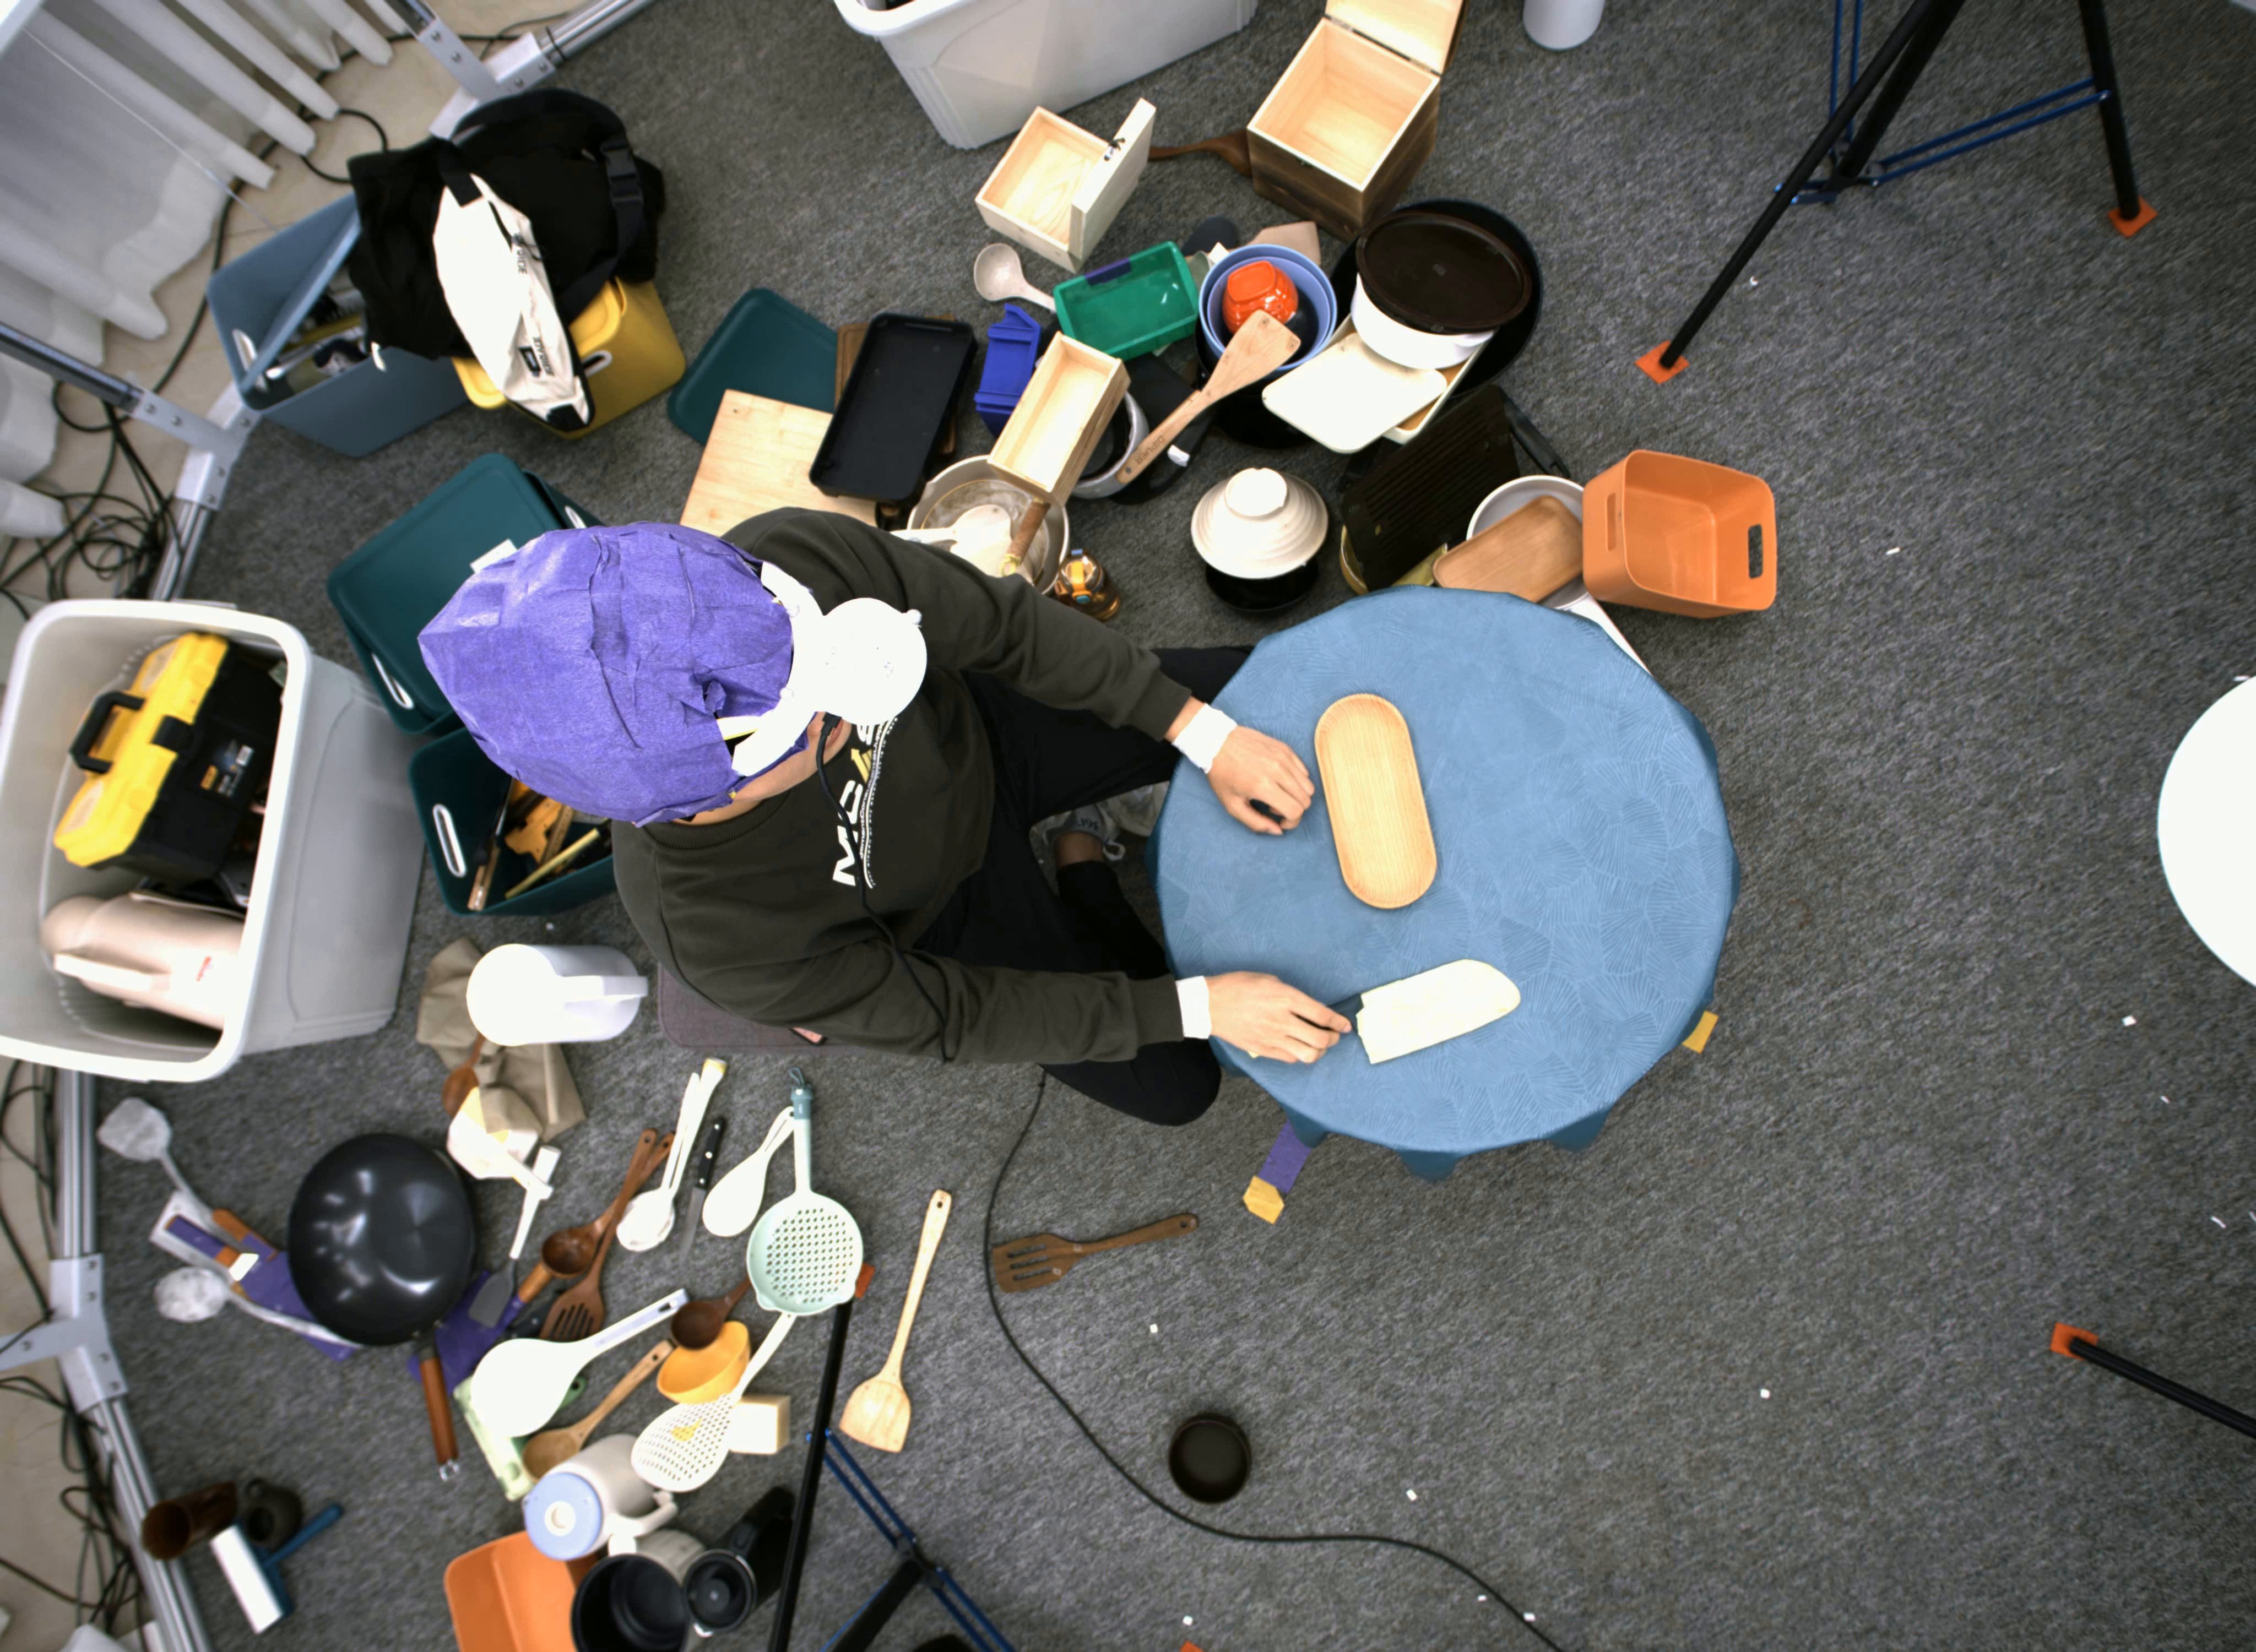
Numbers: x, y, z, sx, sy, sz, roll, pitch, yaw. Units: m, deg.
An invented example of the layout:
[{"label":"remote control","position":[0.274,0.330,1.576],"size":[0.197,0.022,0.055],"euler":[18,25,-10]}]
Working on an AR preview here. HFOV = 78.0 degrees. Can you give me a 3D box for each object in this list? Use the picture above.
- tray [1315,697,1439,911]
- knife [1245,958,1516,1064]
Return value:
[{"label":"tray","position":[0.263,-0.025,1.459],"size":[0.102,0.020,0.230],"euler":[-13,86,11]},{"label":"knife","position":[0.264,0.204,1.444],"size":[0.291,0.027,0.080],"euler":[-18,79,8]}]
